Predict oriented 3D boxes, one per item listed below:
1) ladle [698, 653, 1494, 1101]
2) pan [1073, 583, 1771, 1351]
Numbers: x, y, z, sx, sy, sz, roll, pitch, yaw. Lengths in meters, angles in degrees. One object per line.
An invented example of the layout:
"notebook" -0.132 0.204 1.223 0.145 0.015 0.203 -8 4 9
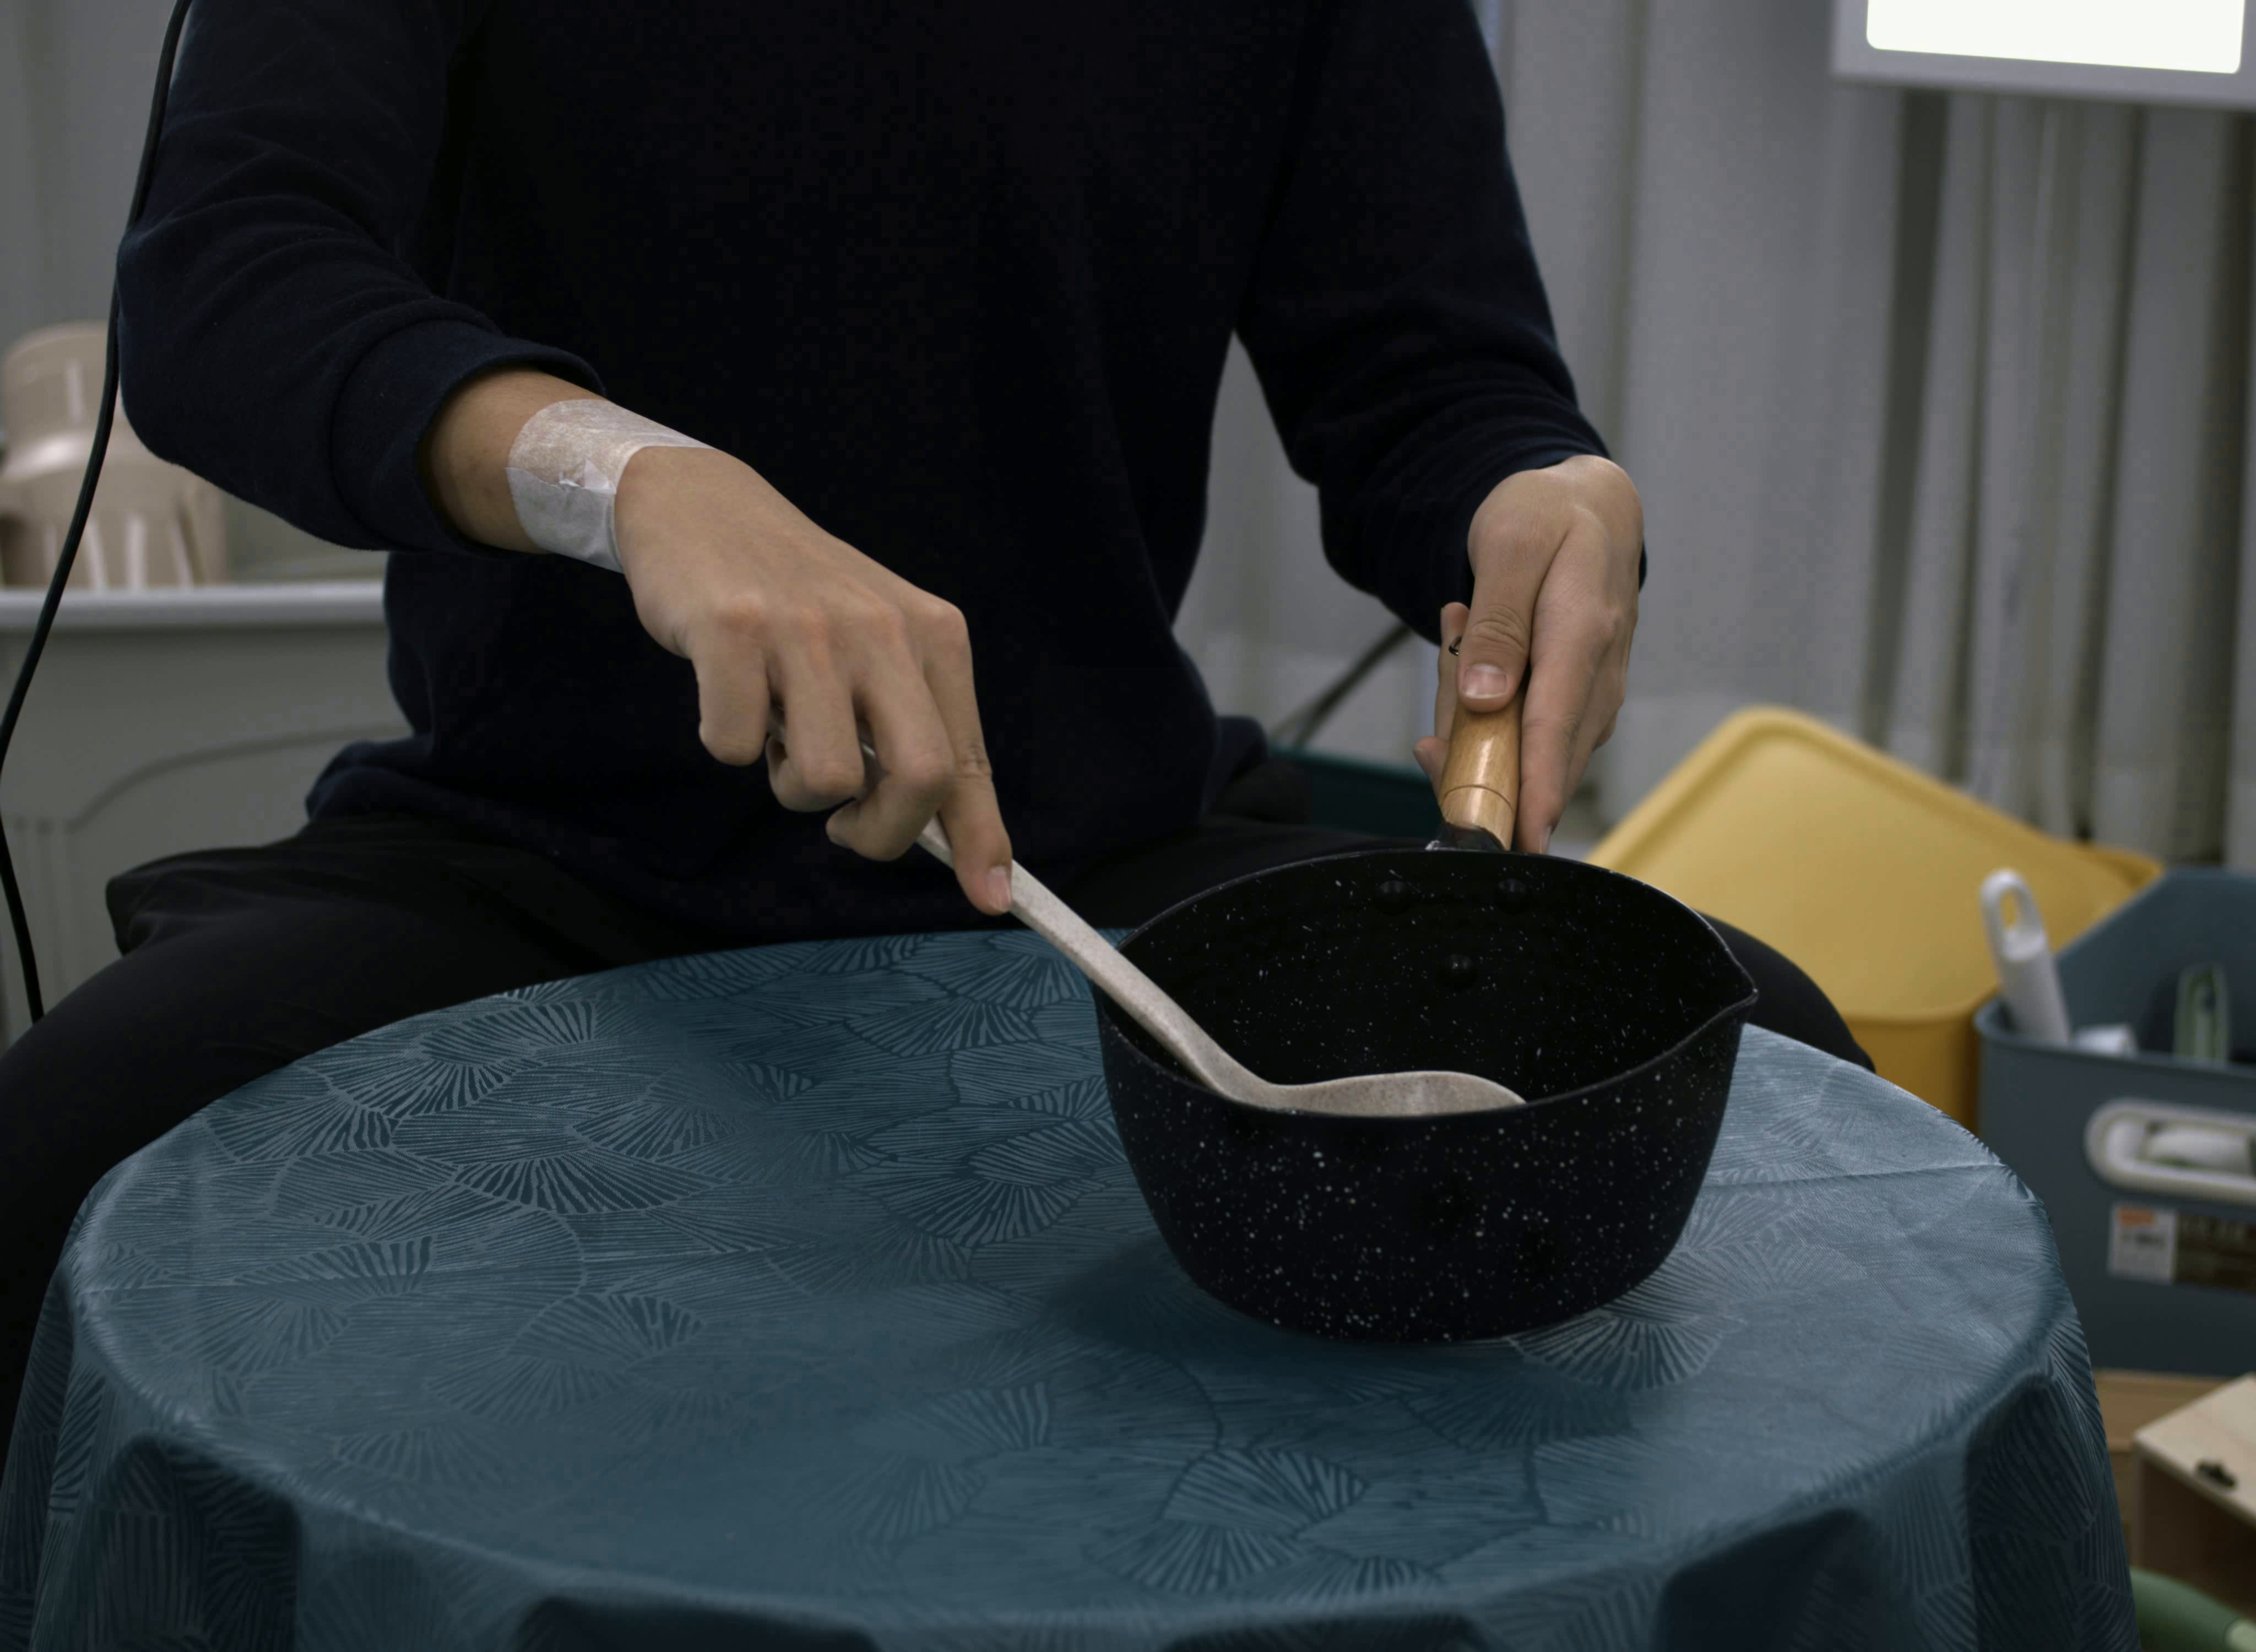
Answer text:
"ladle" -0.001 0.024 1.513 0.276 0.069 0.089 42 29 -14
"pan" 0.098 0.038 1.612 0.206 0.109 0.341 0 25 10
